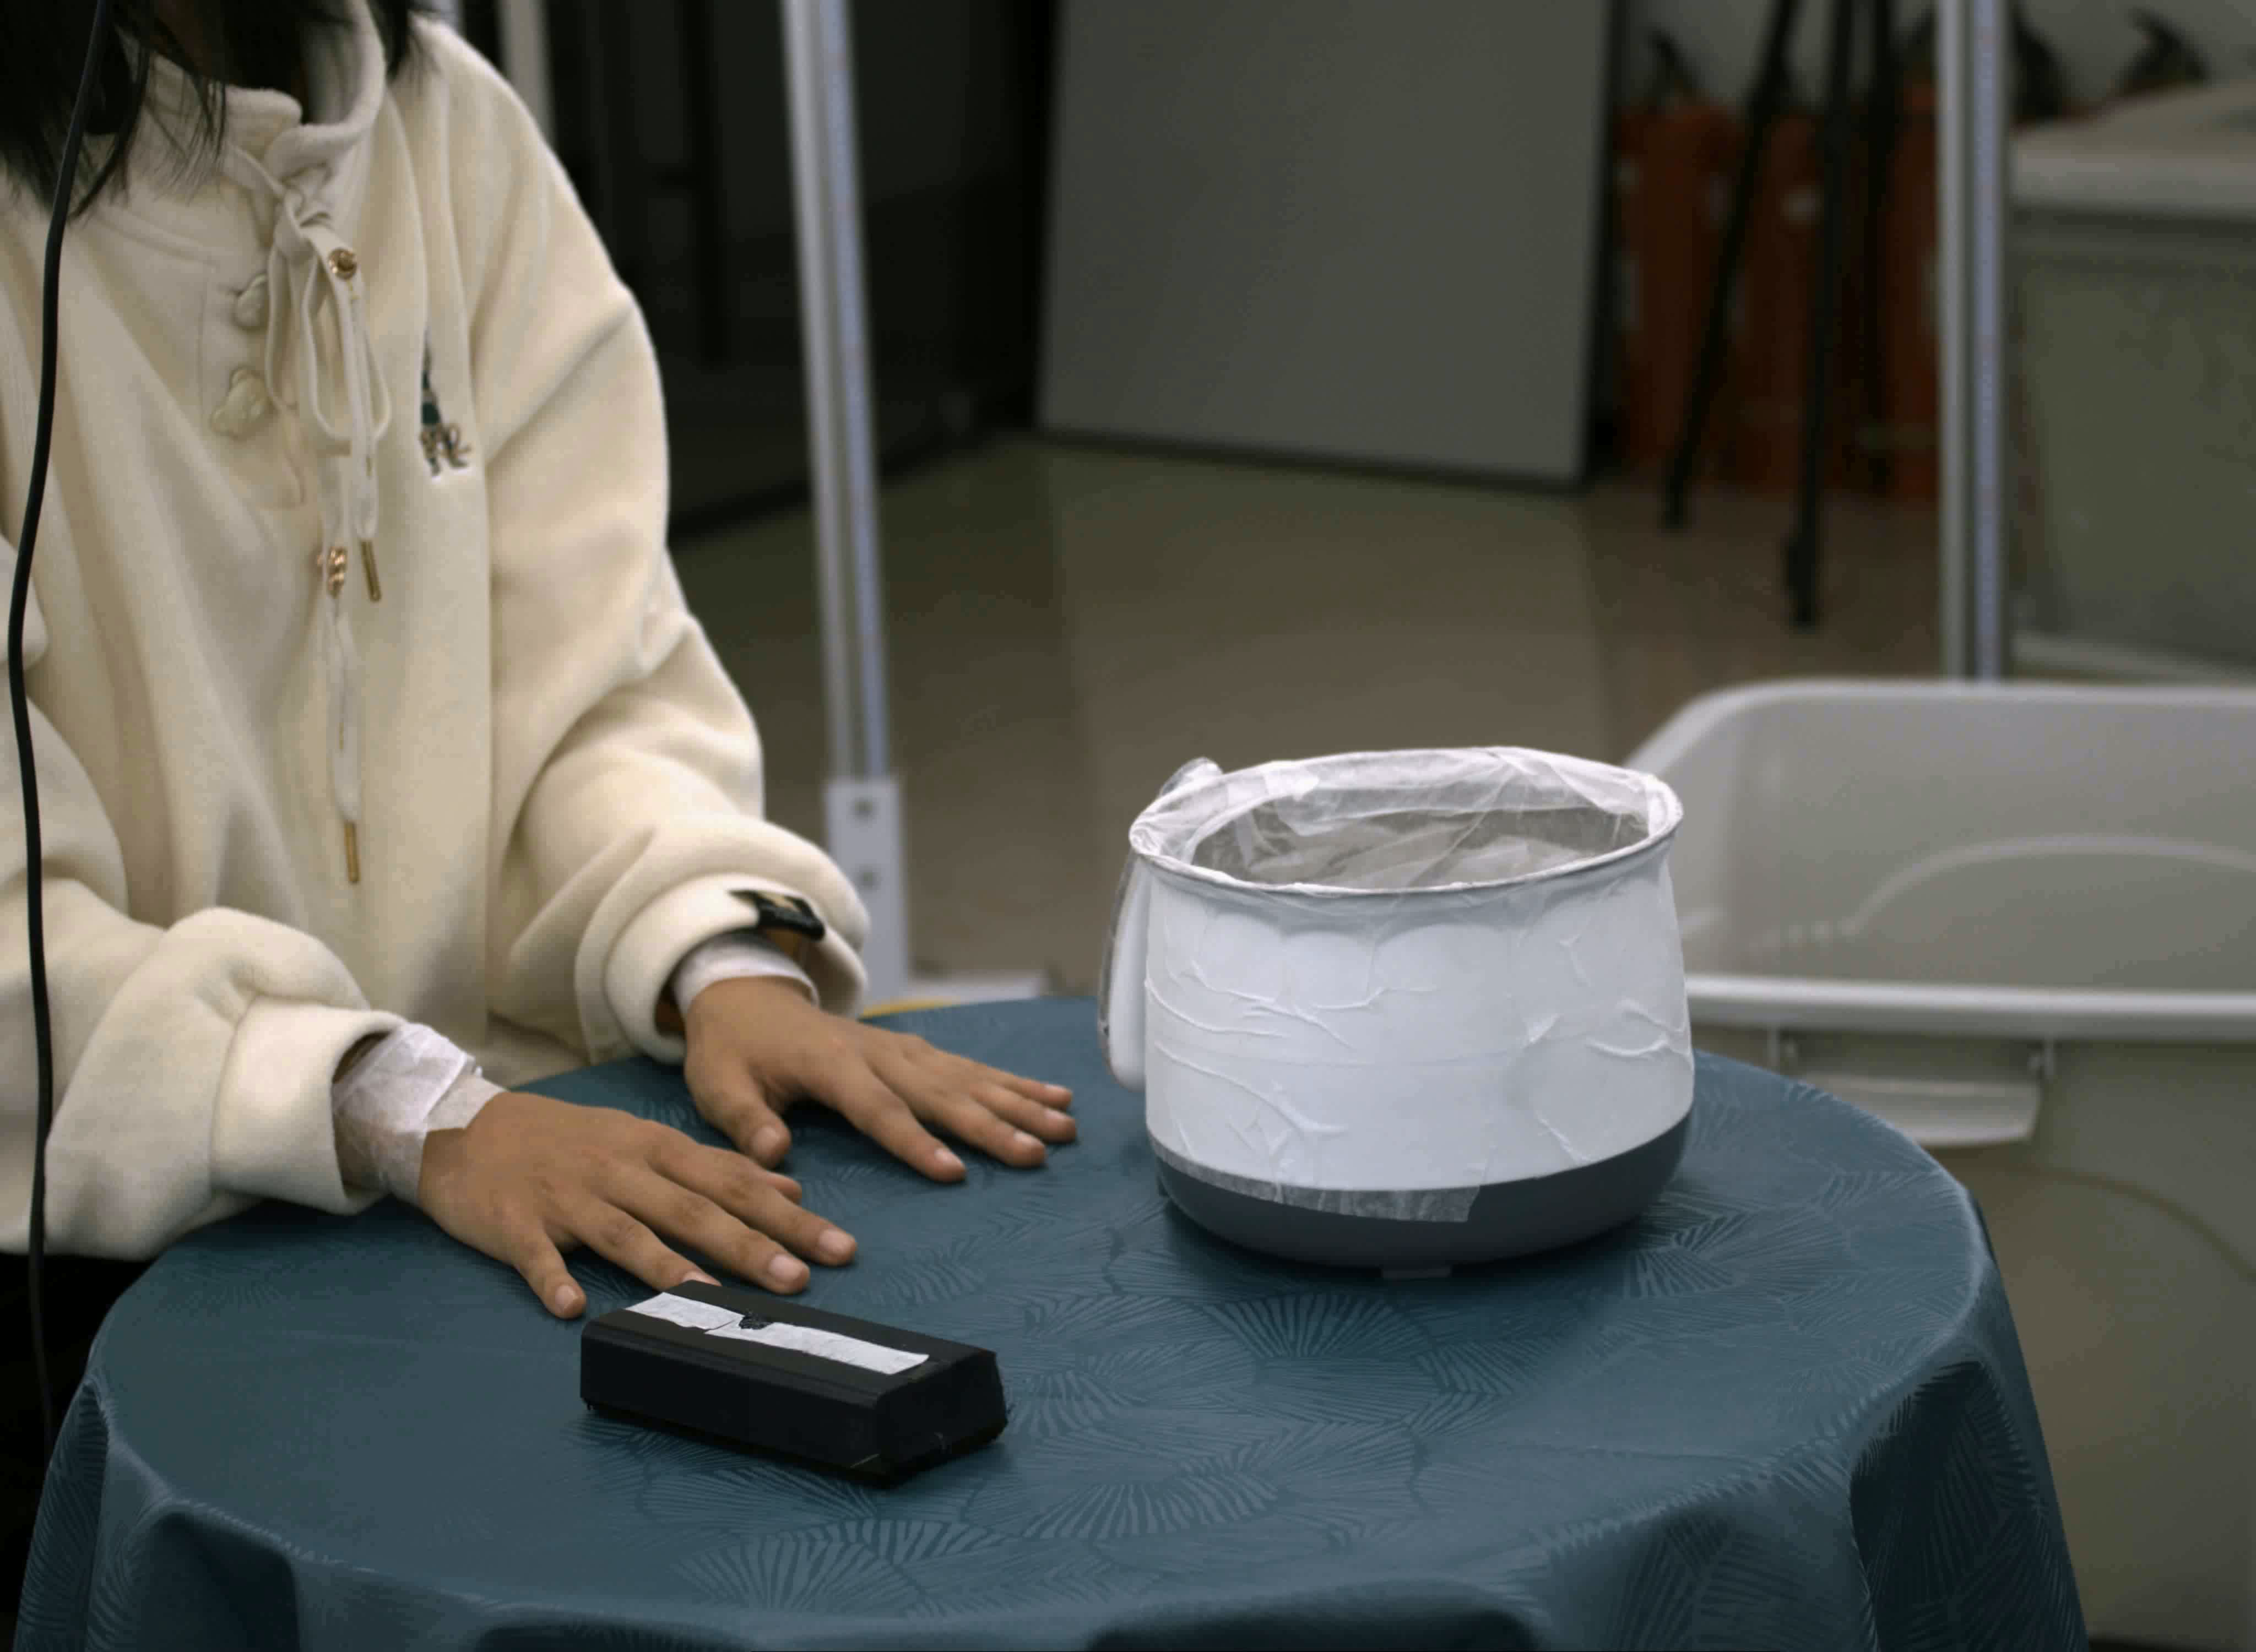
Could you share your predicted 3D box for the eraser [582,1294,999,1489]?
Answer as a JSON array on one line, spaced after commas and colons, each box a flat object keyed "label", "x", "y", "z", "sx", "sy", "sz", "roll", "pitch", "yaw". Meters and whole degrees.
[{"label": "eraser", "x": -0.098, "y": 0.163, "z": 1.571, "sx": 0.126, "sy": 0.031, "sz": 0.052, "roll": 7, "pitch": 17, "yaw": 42}]

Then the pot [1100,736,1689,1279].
[{"label": "pot", "x": 0.072, "y": 0.052, "z": 1.735, "sx": 0.175, "sy": 0.138, "sz": 0.236, "roll": -15, "pitch": 18, "yaw": -39}]
